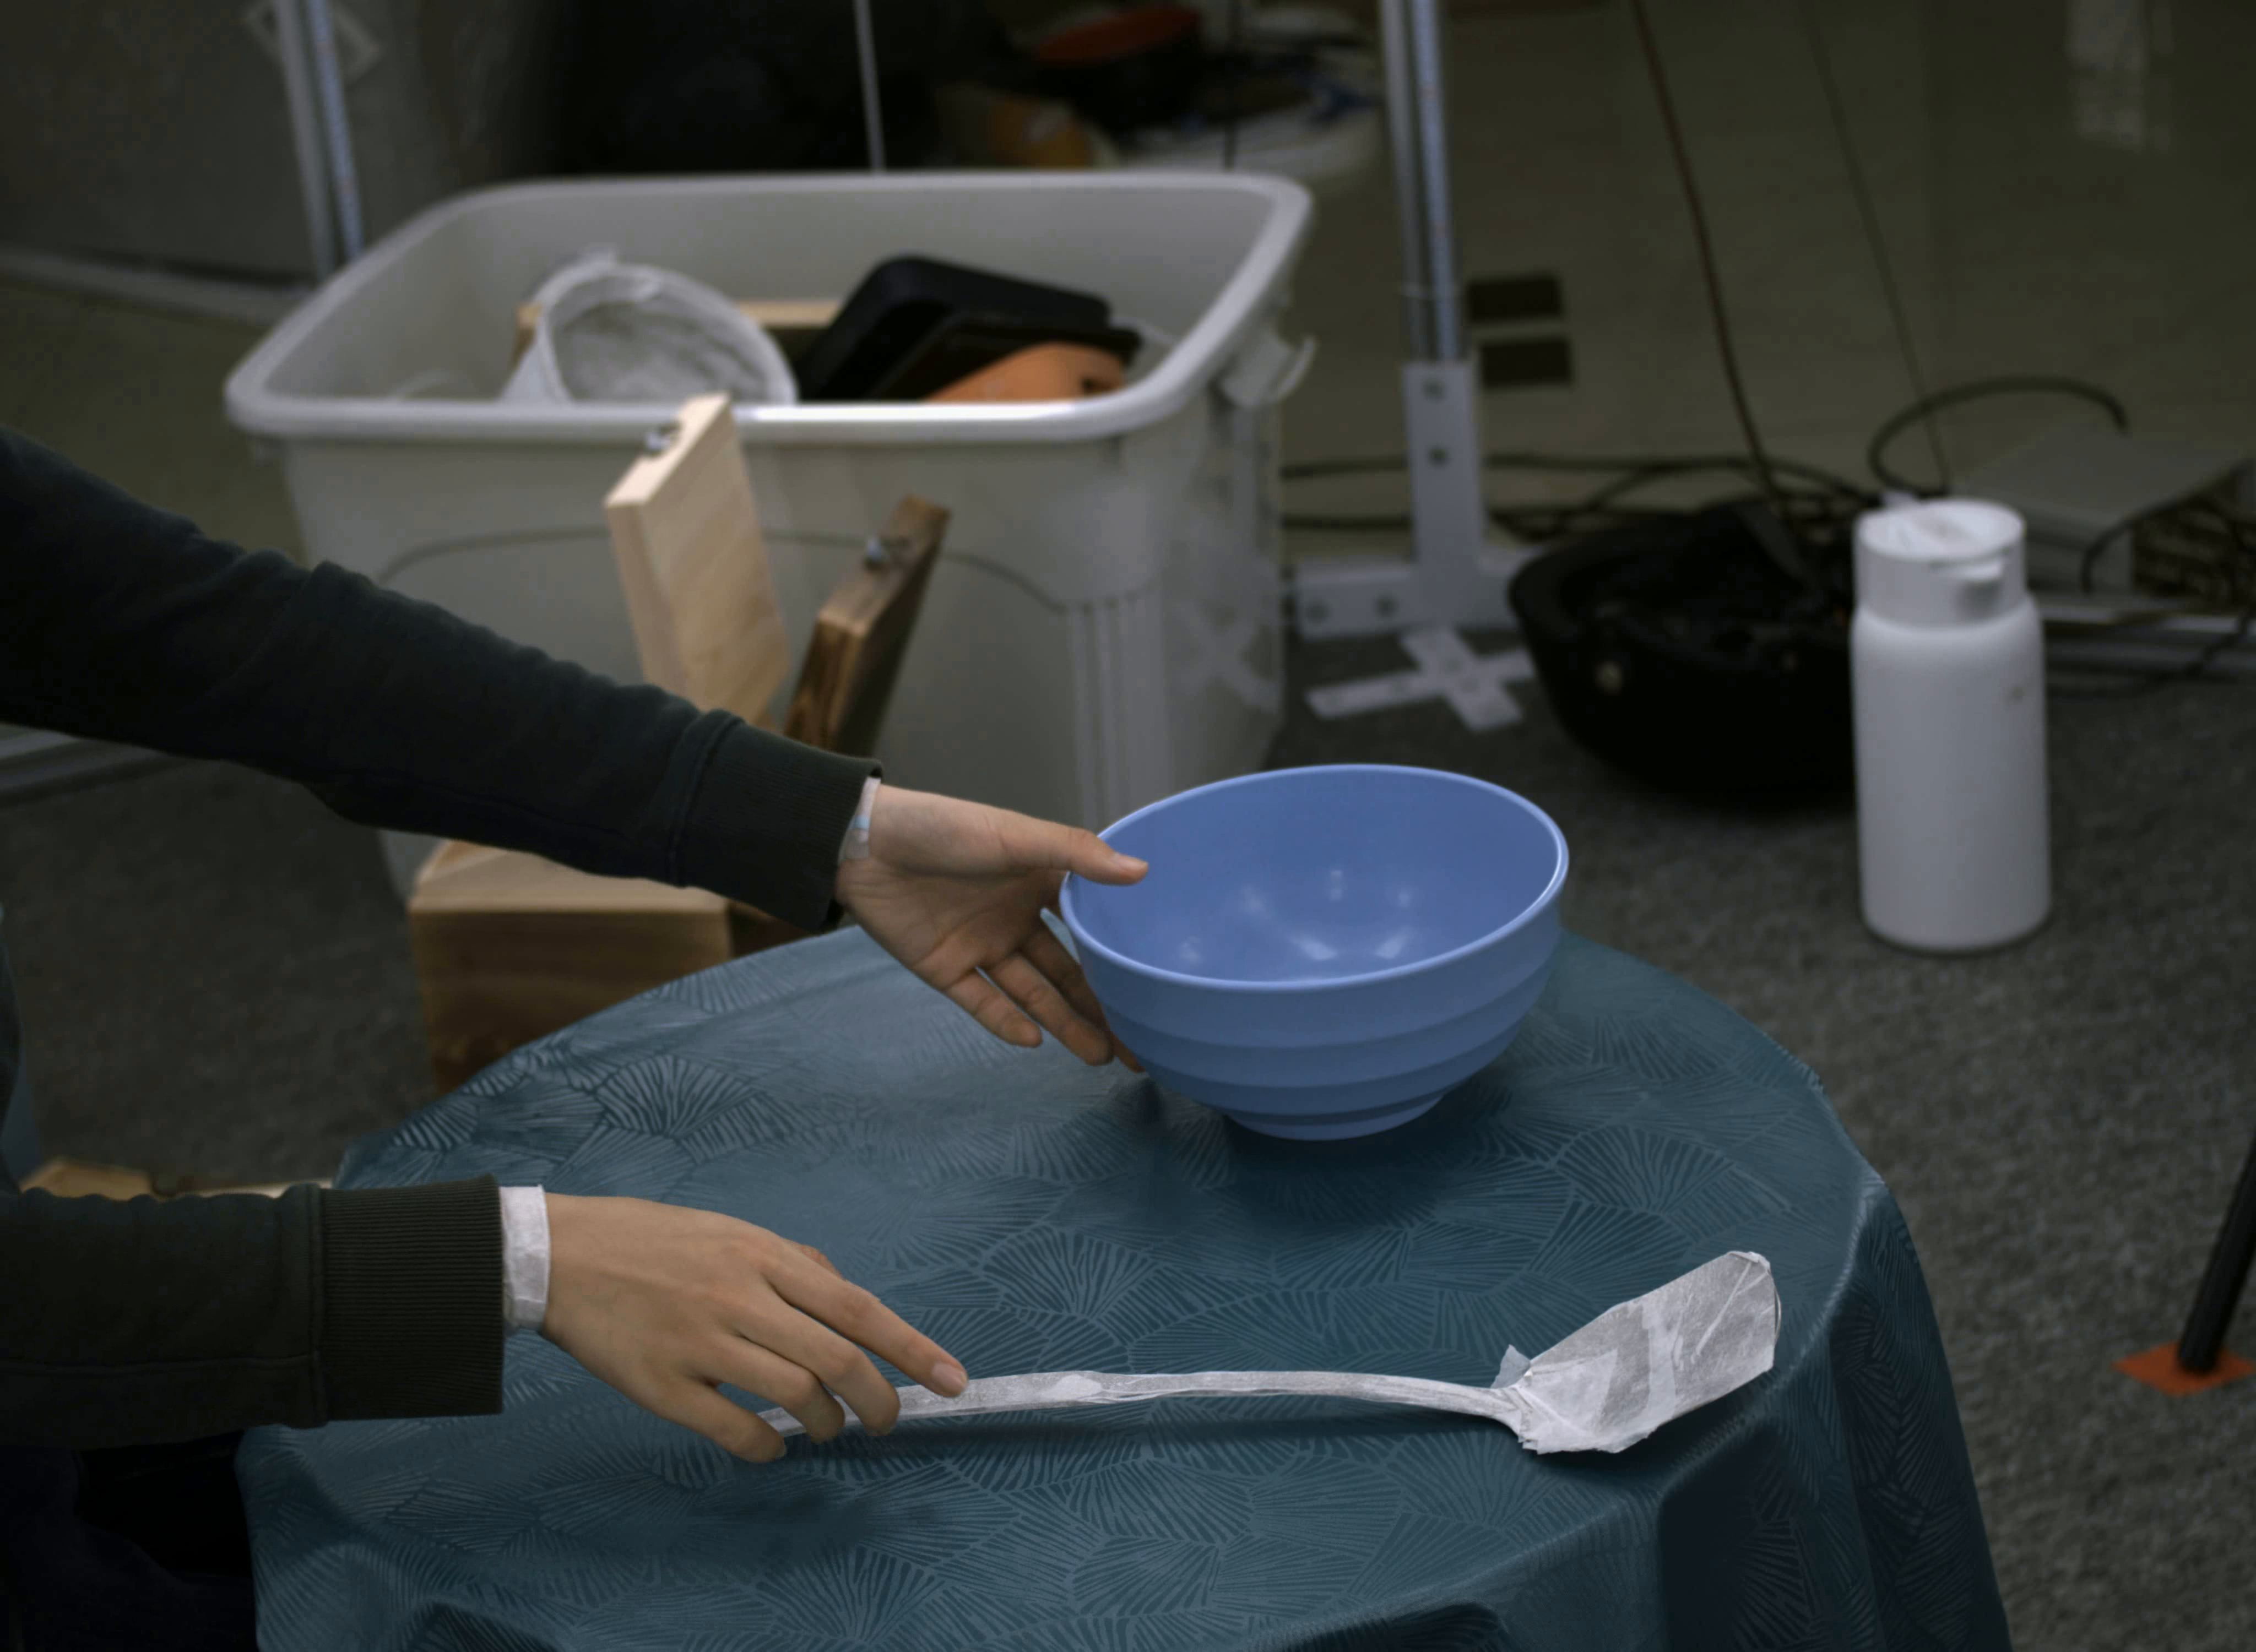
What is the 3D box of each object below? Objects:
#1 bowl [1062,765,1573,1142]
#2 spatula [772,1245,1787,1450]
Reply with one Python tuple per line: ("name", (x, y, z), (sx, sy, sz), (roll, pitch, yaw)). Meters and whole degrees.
("bowl", (0.076, 0.060, 2.191), (0.196, 0.097, 0.193), (-4, 26, 2))
("spatula", (0.048, 0.190, 1.985), (0.364, 0.045, 0.097), (-2, 27, 9))
